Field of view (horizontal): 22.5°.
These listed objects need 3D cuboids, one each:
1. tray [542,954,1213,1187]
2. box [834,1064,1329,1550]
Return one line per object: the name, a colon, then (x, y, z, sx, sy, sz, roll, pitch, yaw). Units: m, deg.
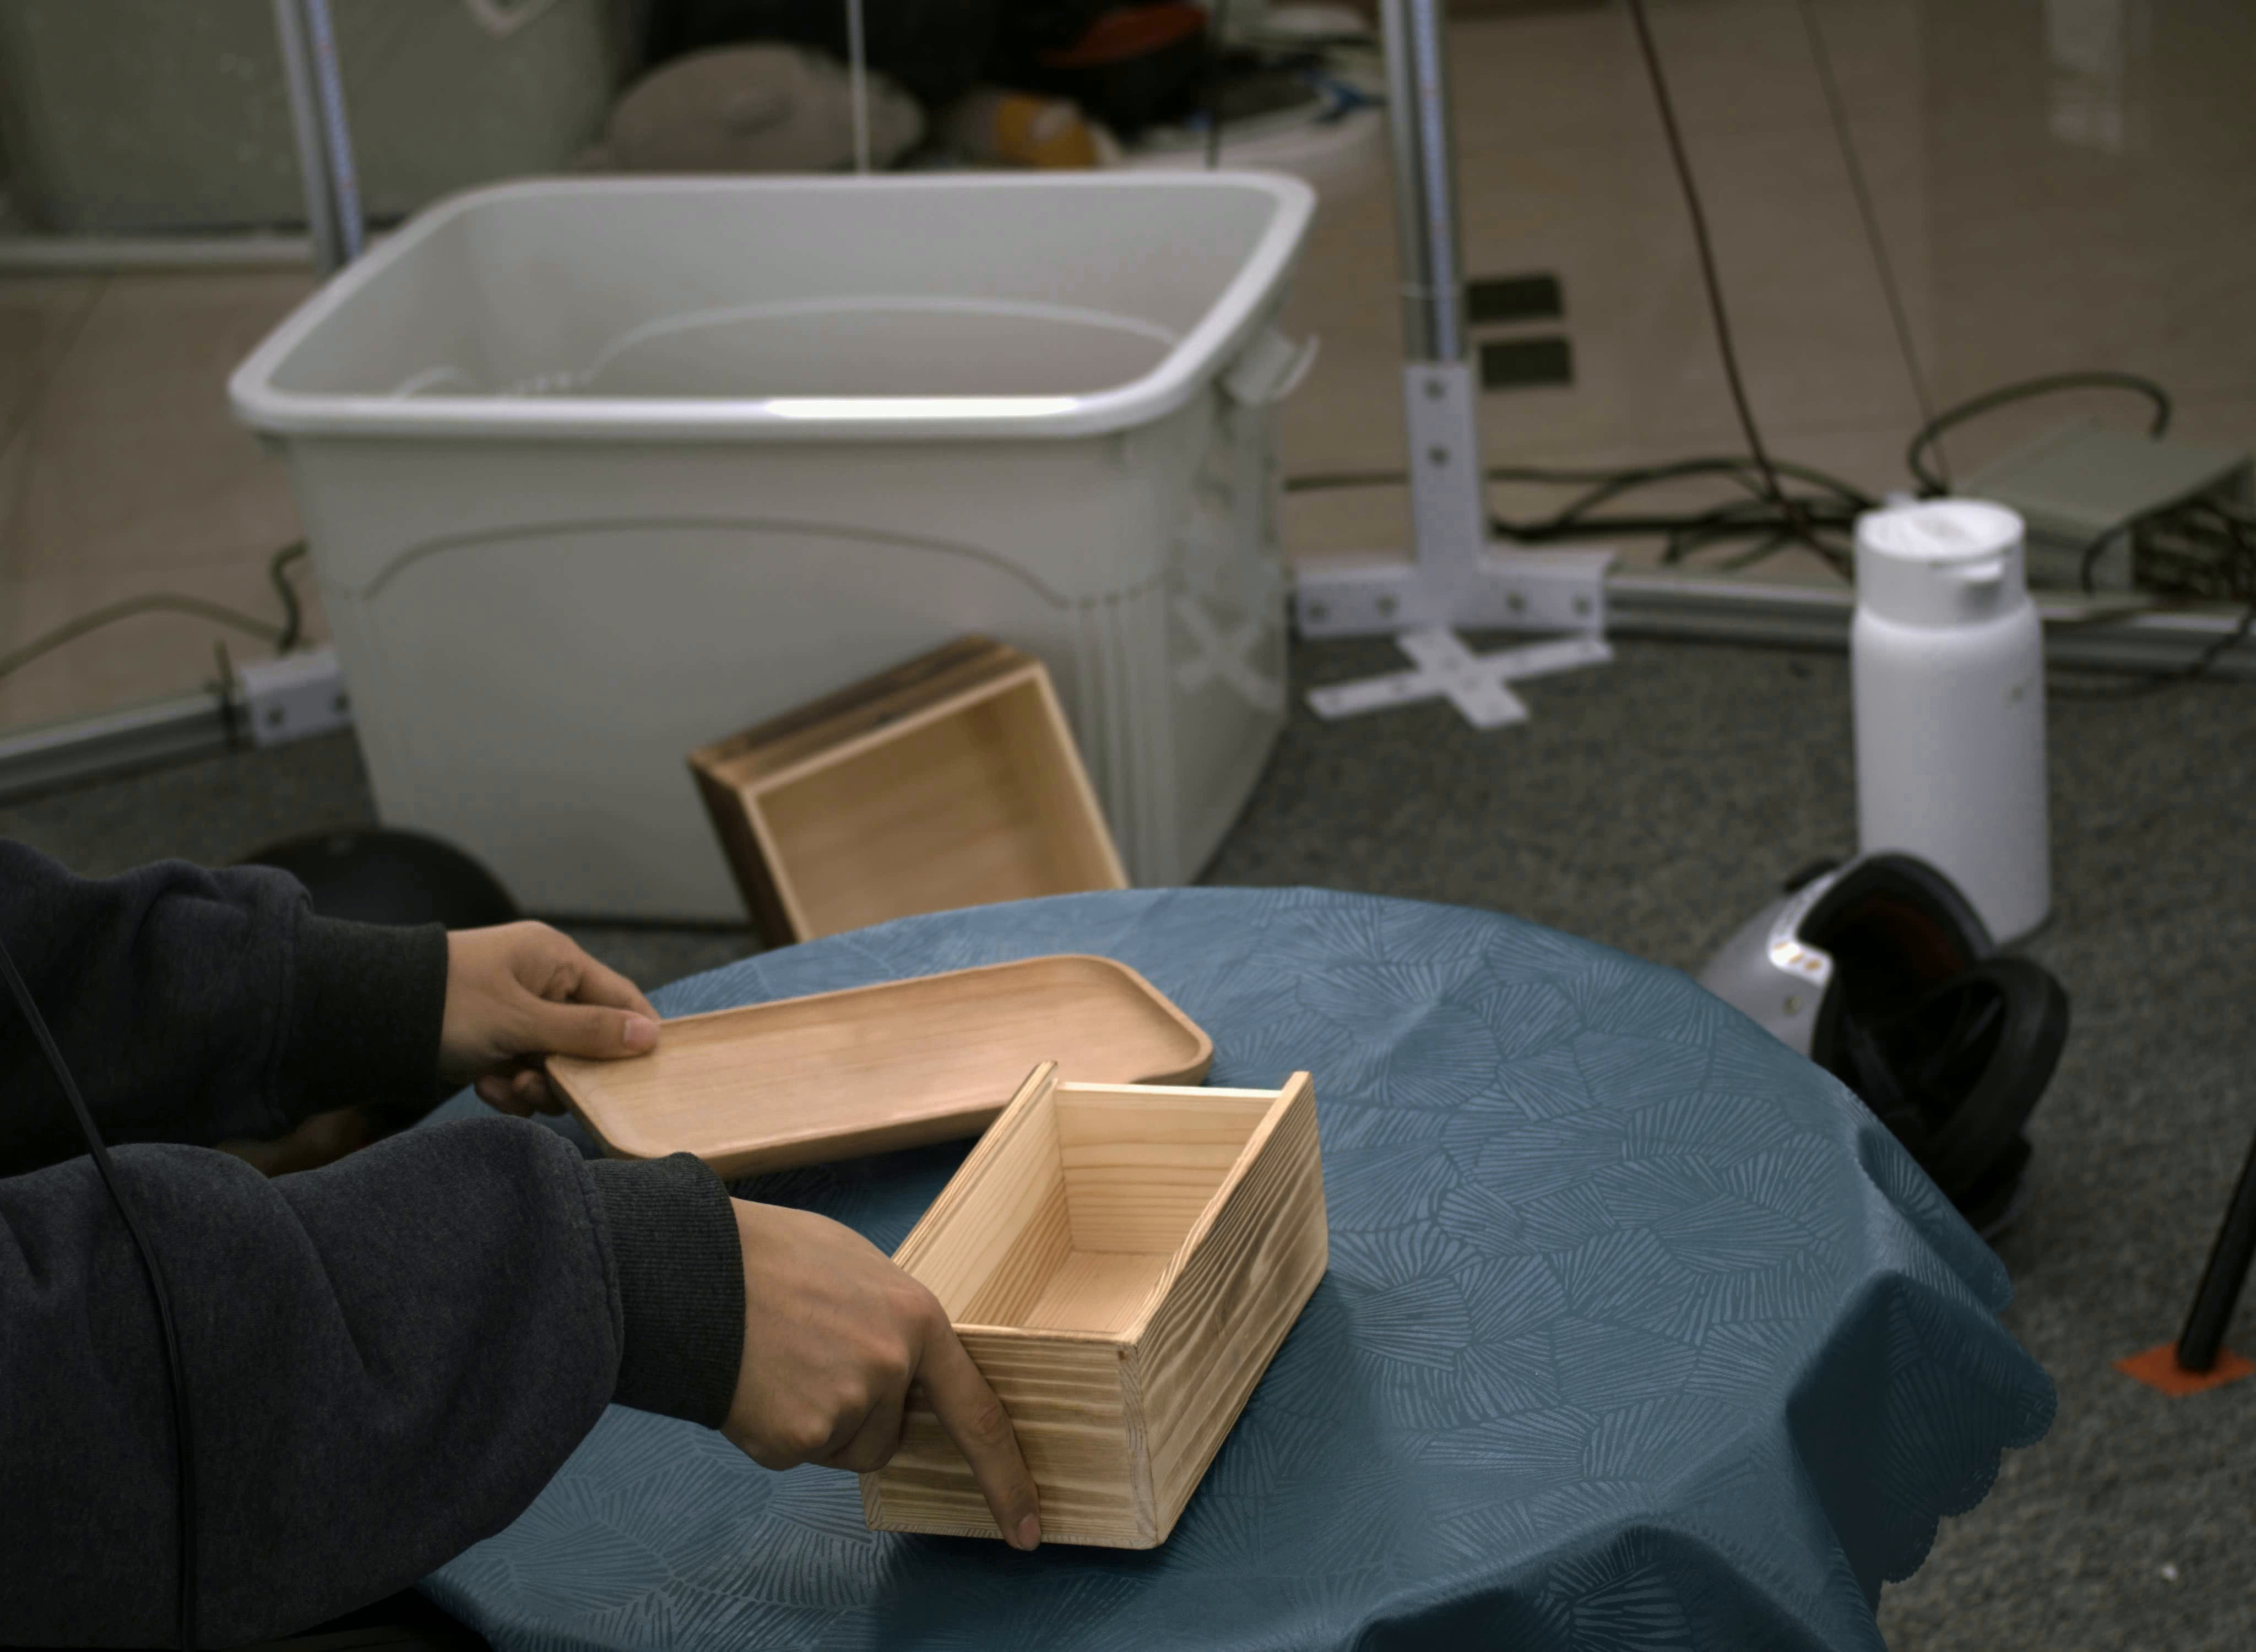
tray: (-0.097, 0.095, 2.212, 0.250, 0.023, 0.129, -9, 22, -22)
box: (-0.013, 0.165, 1.988, 0.107, 0.081, 0.208, 2, 24, 19)
